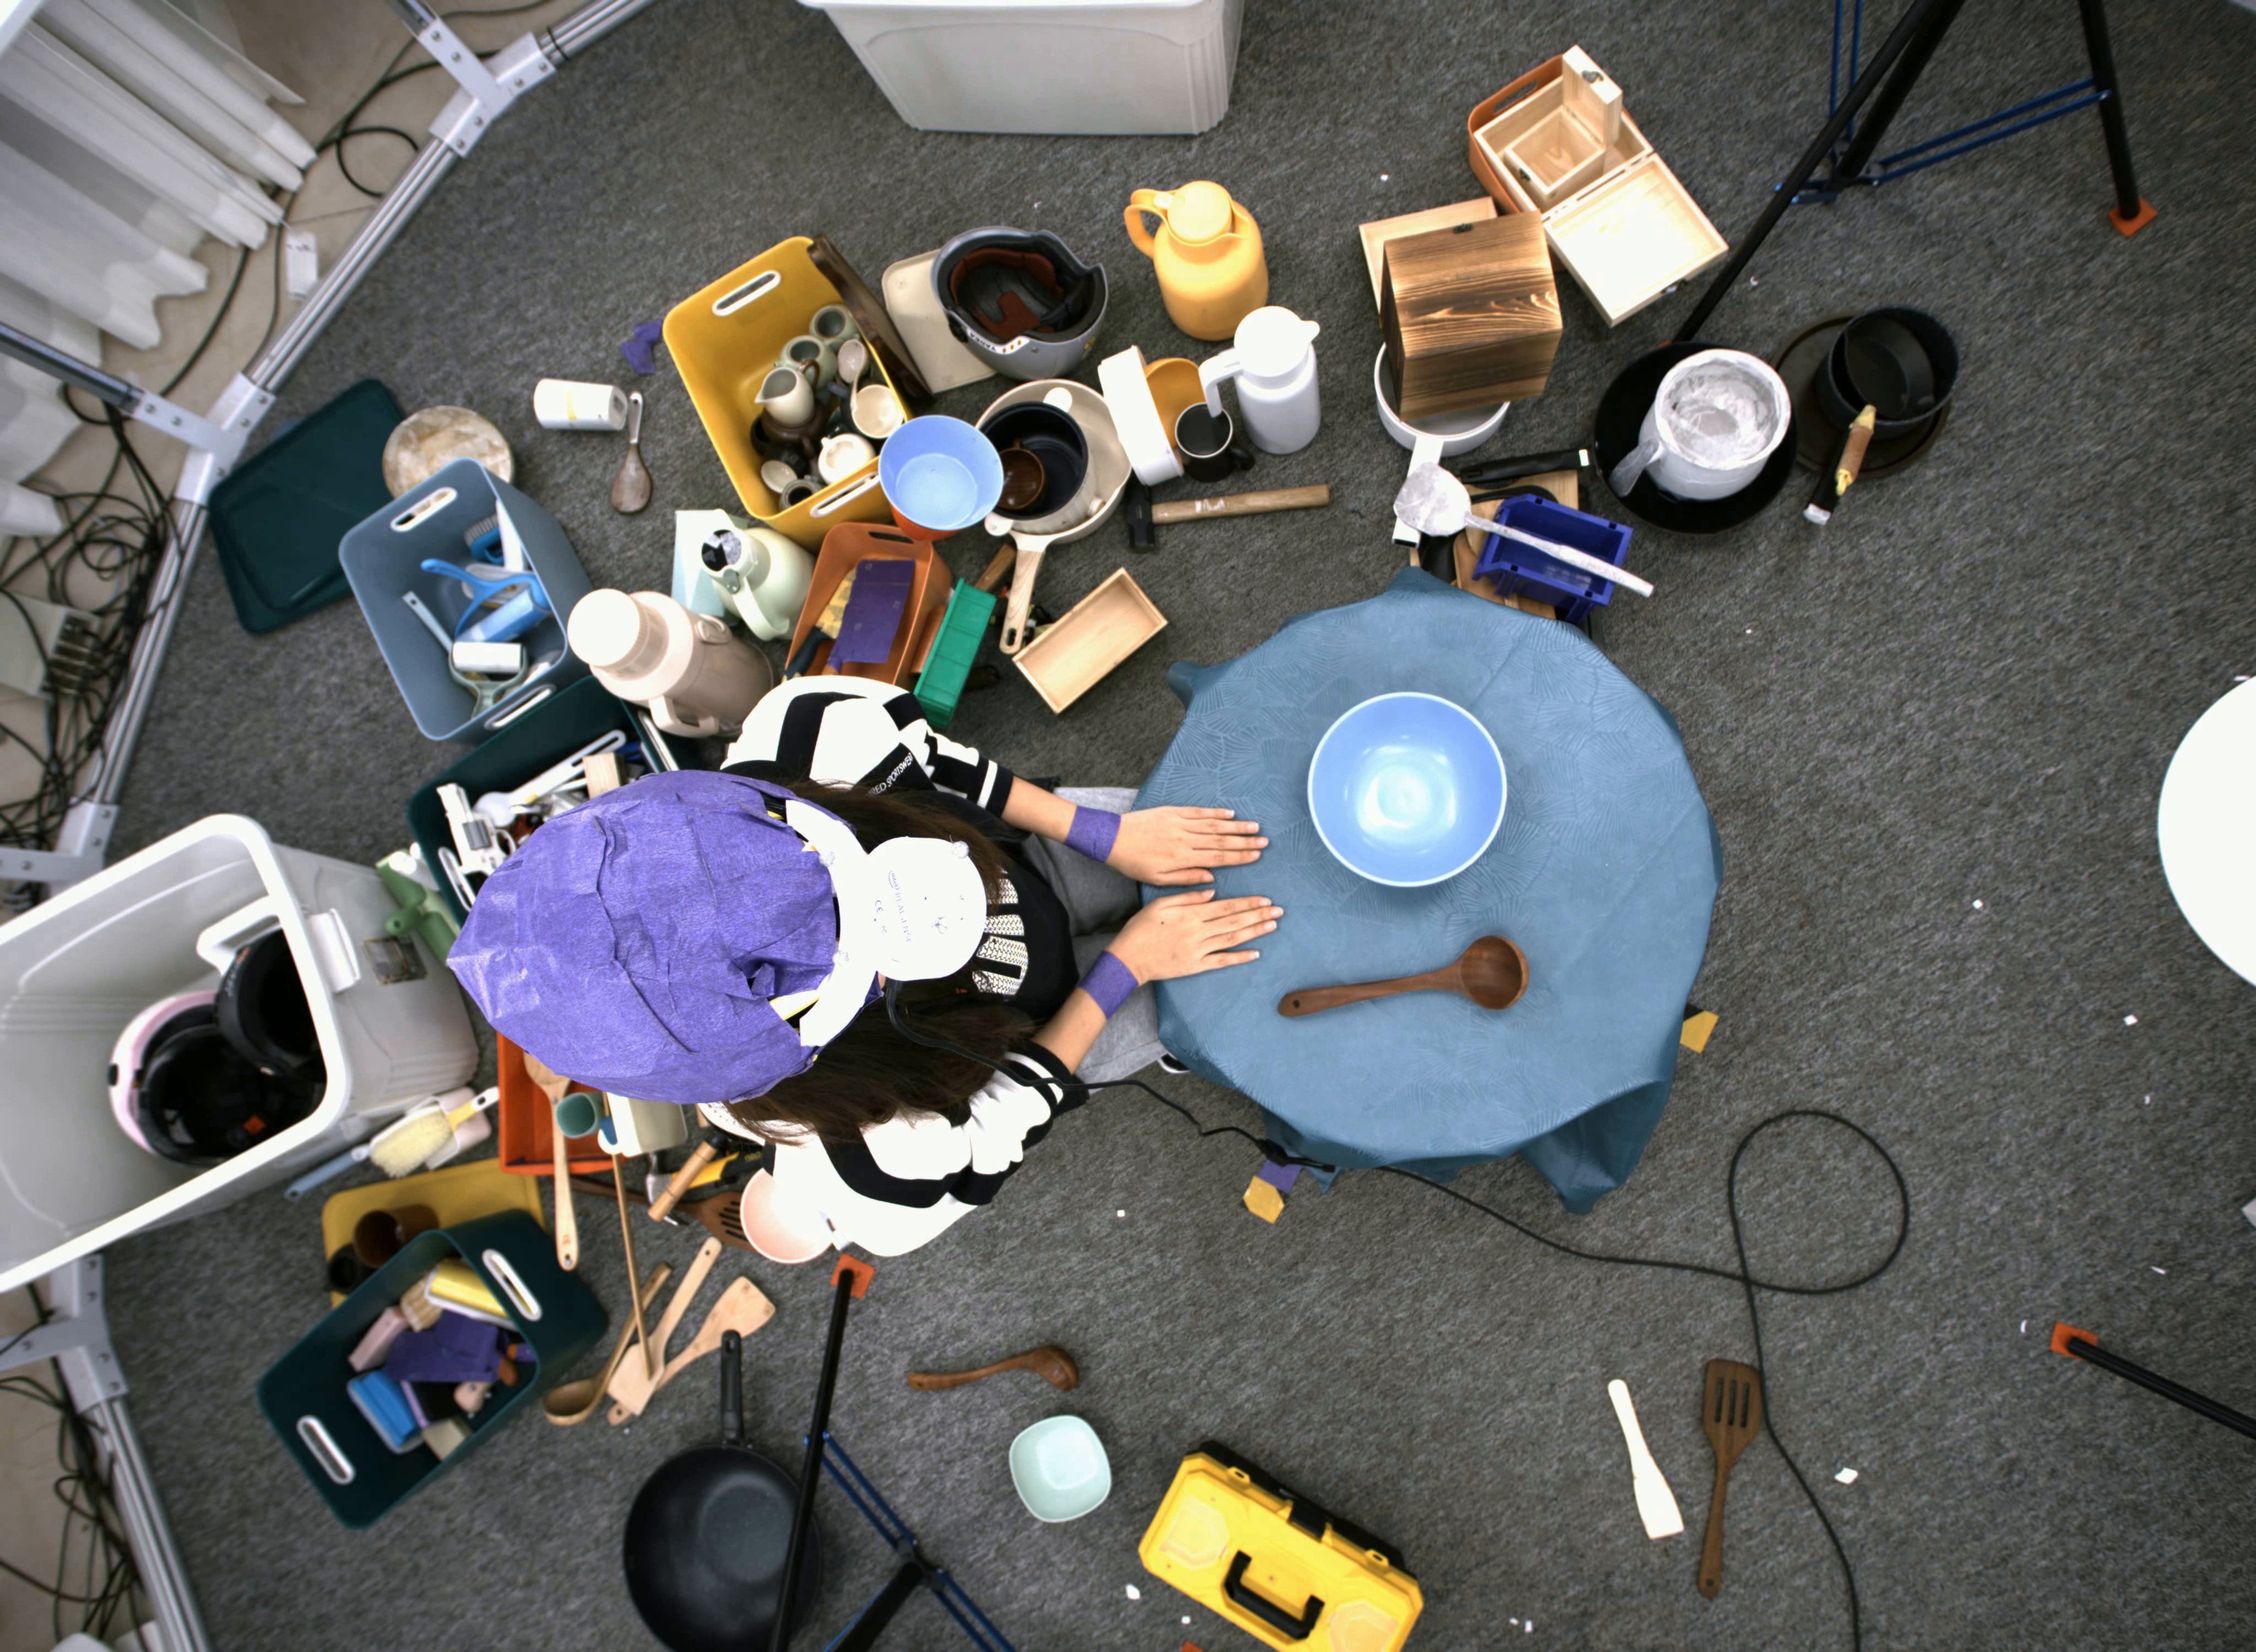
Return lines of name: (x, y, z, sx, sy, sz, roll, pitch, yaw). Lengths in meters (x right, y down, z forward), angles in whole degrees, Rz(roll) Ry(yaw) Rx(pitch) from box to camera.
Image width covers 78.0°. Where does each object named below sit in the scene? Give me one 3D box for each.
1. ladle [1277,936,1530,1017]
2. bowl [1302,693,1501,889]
ladle: (0.280, 0.164, 1.421, 0.261, 0.065, 0.076, -10, 78, 10)
bowl: (0.277, -0.036, 1.418, 0.197, 0.095, 0.196, 0, 91, 6)
